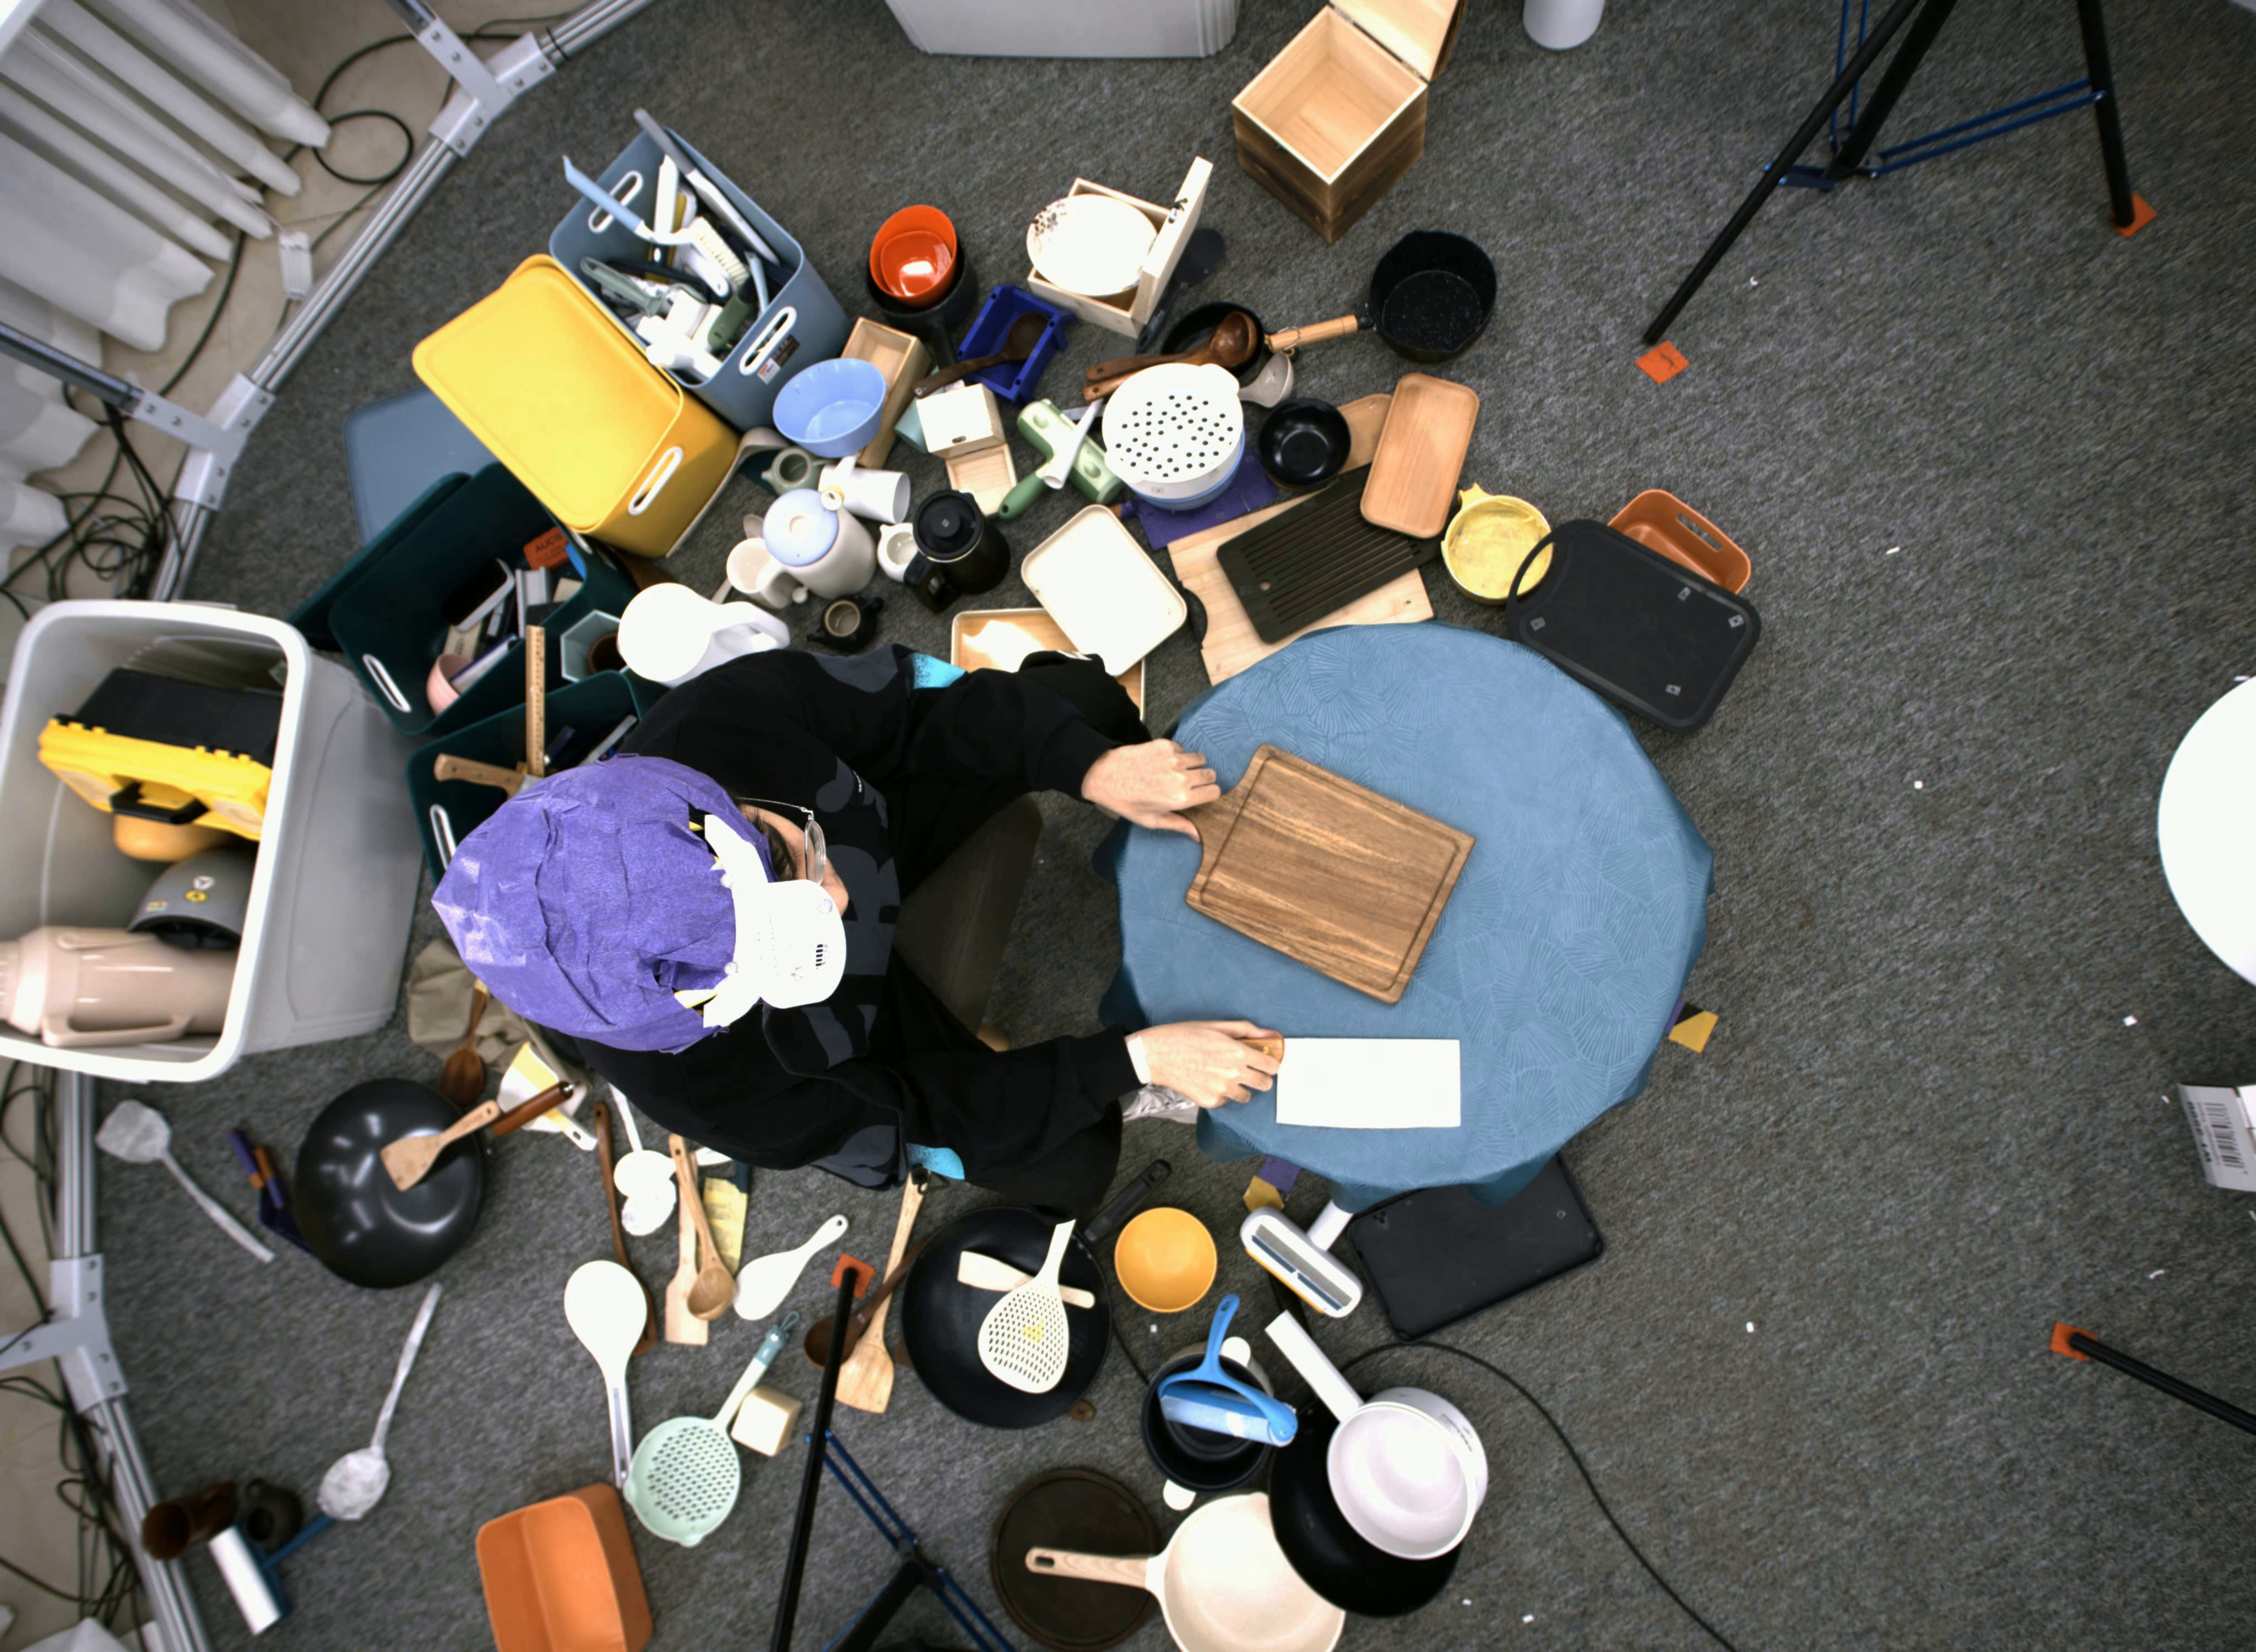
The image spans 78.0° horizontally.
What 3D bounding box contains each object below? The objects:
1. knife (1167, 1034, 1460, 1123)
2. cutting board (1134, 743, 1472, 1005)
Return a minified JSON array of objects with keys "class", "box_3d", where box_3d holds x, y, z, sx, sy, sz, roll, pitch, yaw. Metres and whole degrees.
[{"class":"knife","box_3d":[0.194,0.264,1.456,0.307,0.021,0.093,-1,89,8]},{"class":"cutting board","box_3d":[0.166,0.028,1.471,0.352,0.023,0.201,26,92,11]}]
